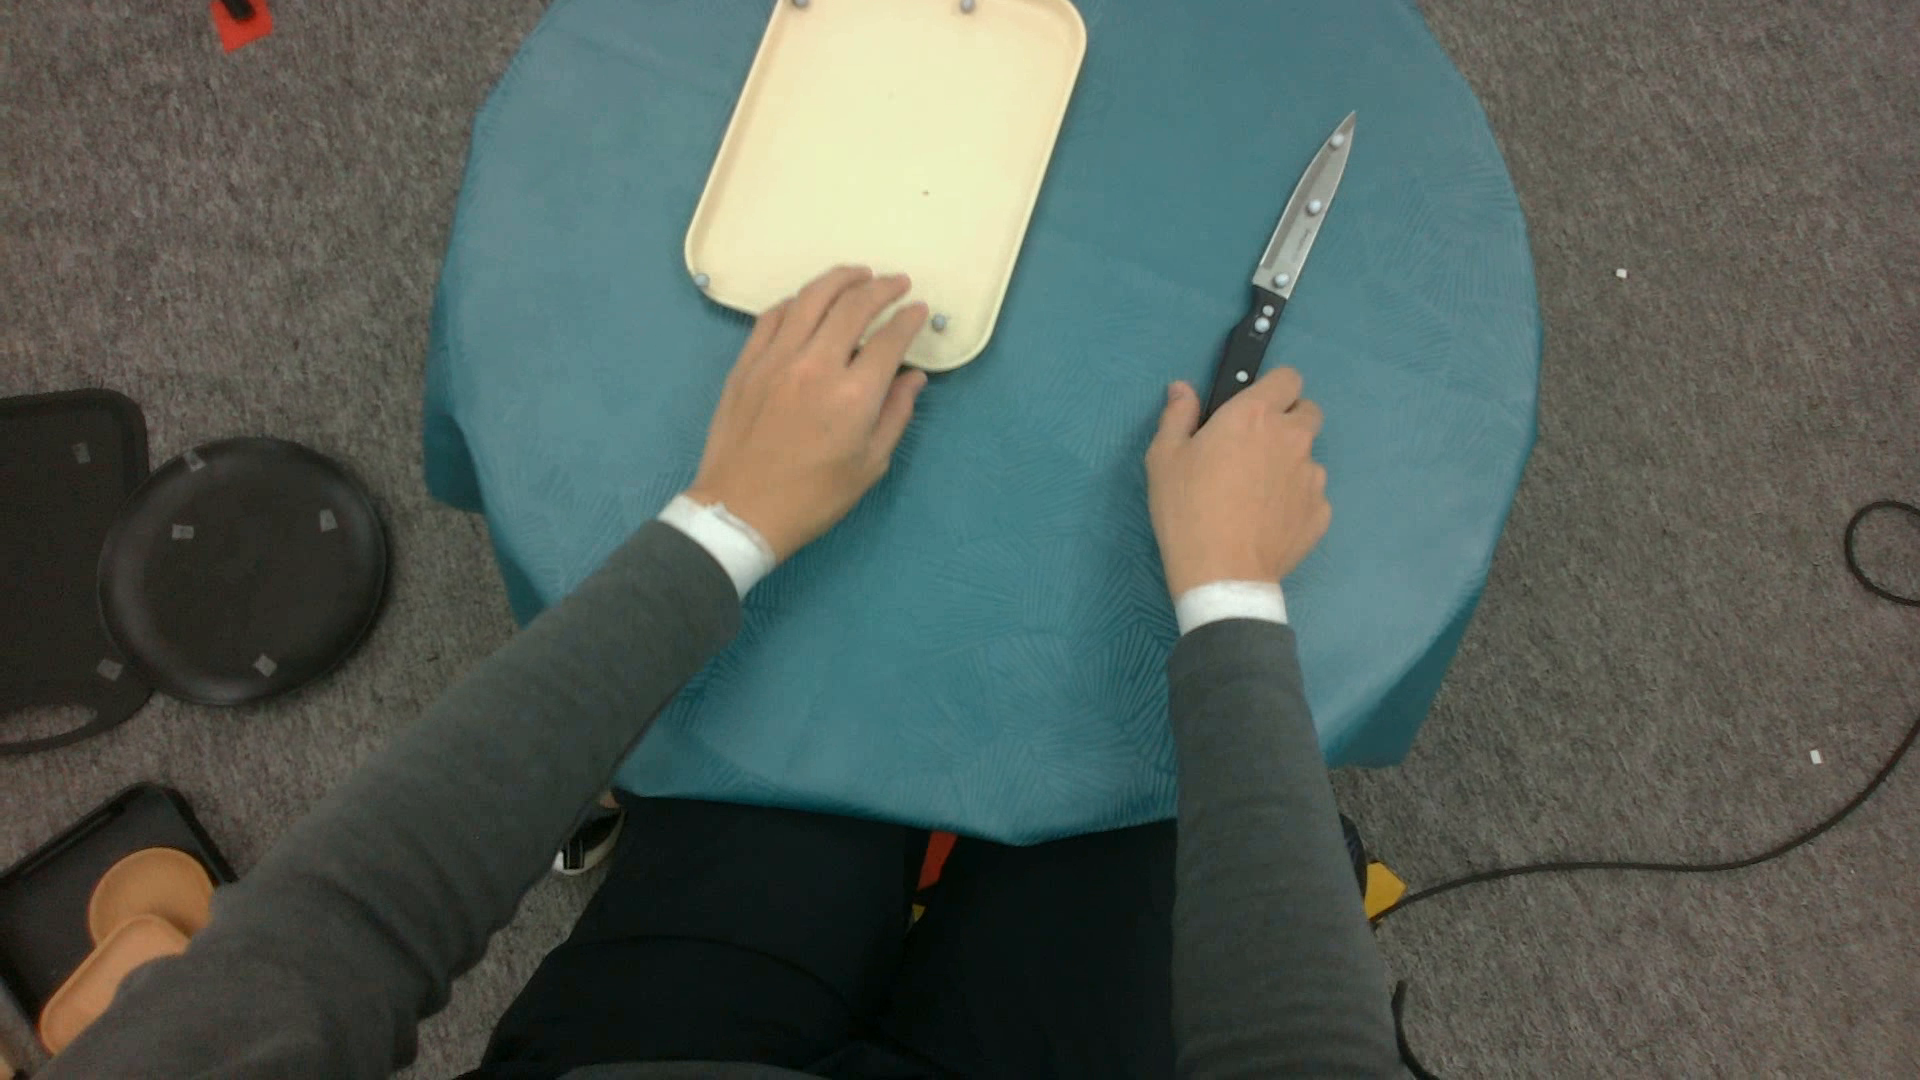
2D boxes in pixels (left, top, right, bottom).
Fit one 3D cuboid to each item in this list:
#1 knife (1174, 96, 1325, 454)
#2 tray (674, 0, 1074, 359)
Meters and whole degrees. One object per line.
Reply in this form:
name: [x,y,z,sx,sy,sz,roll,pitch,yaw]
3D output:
knife: [0.167,-0.150,0.762,0.024,0.016,0.239,23,74,1]
tray: [-0.044,-0.223,0.756,0.171,0.017,0.240,19,76,-2]
